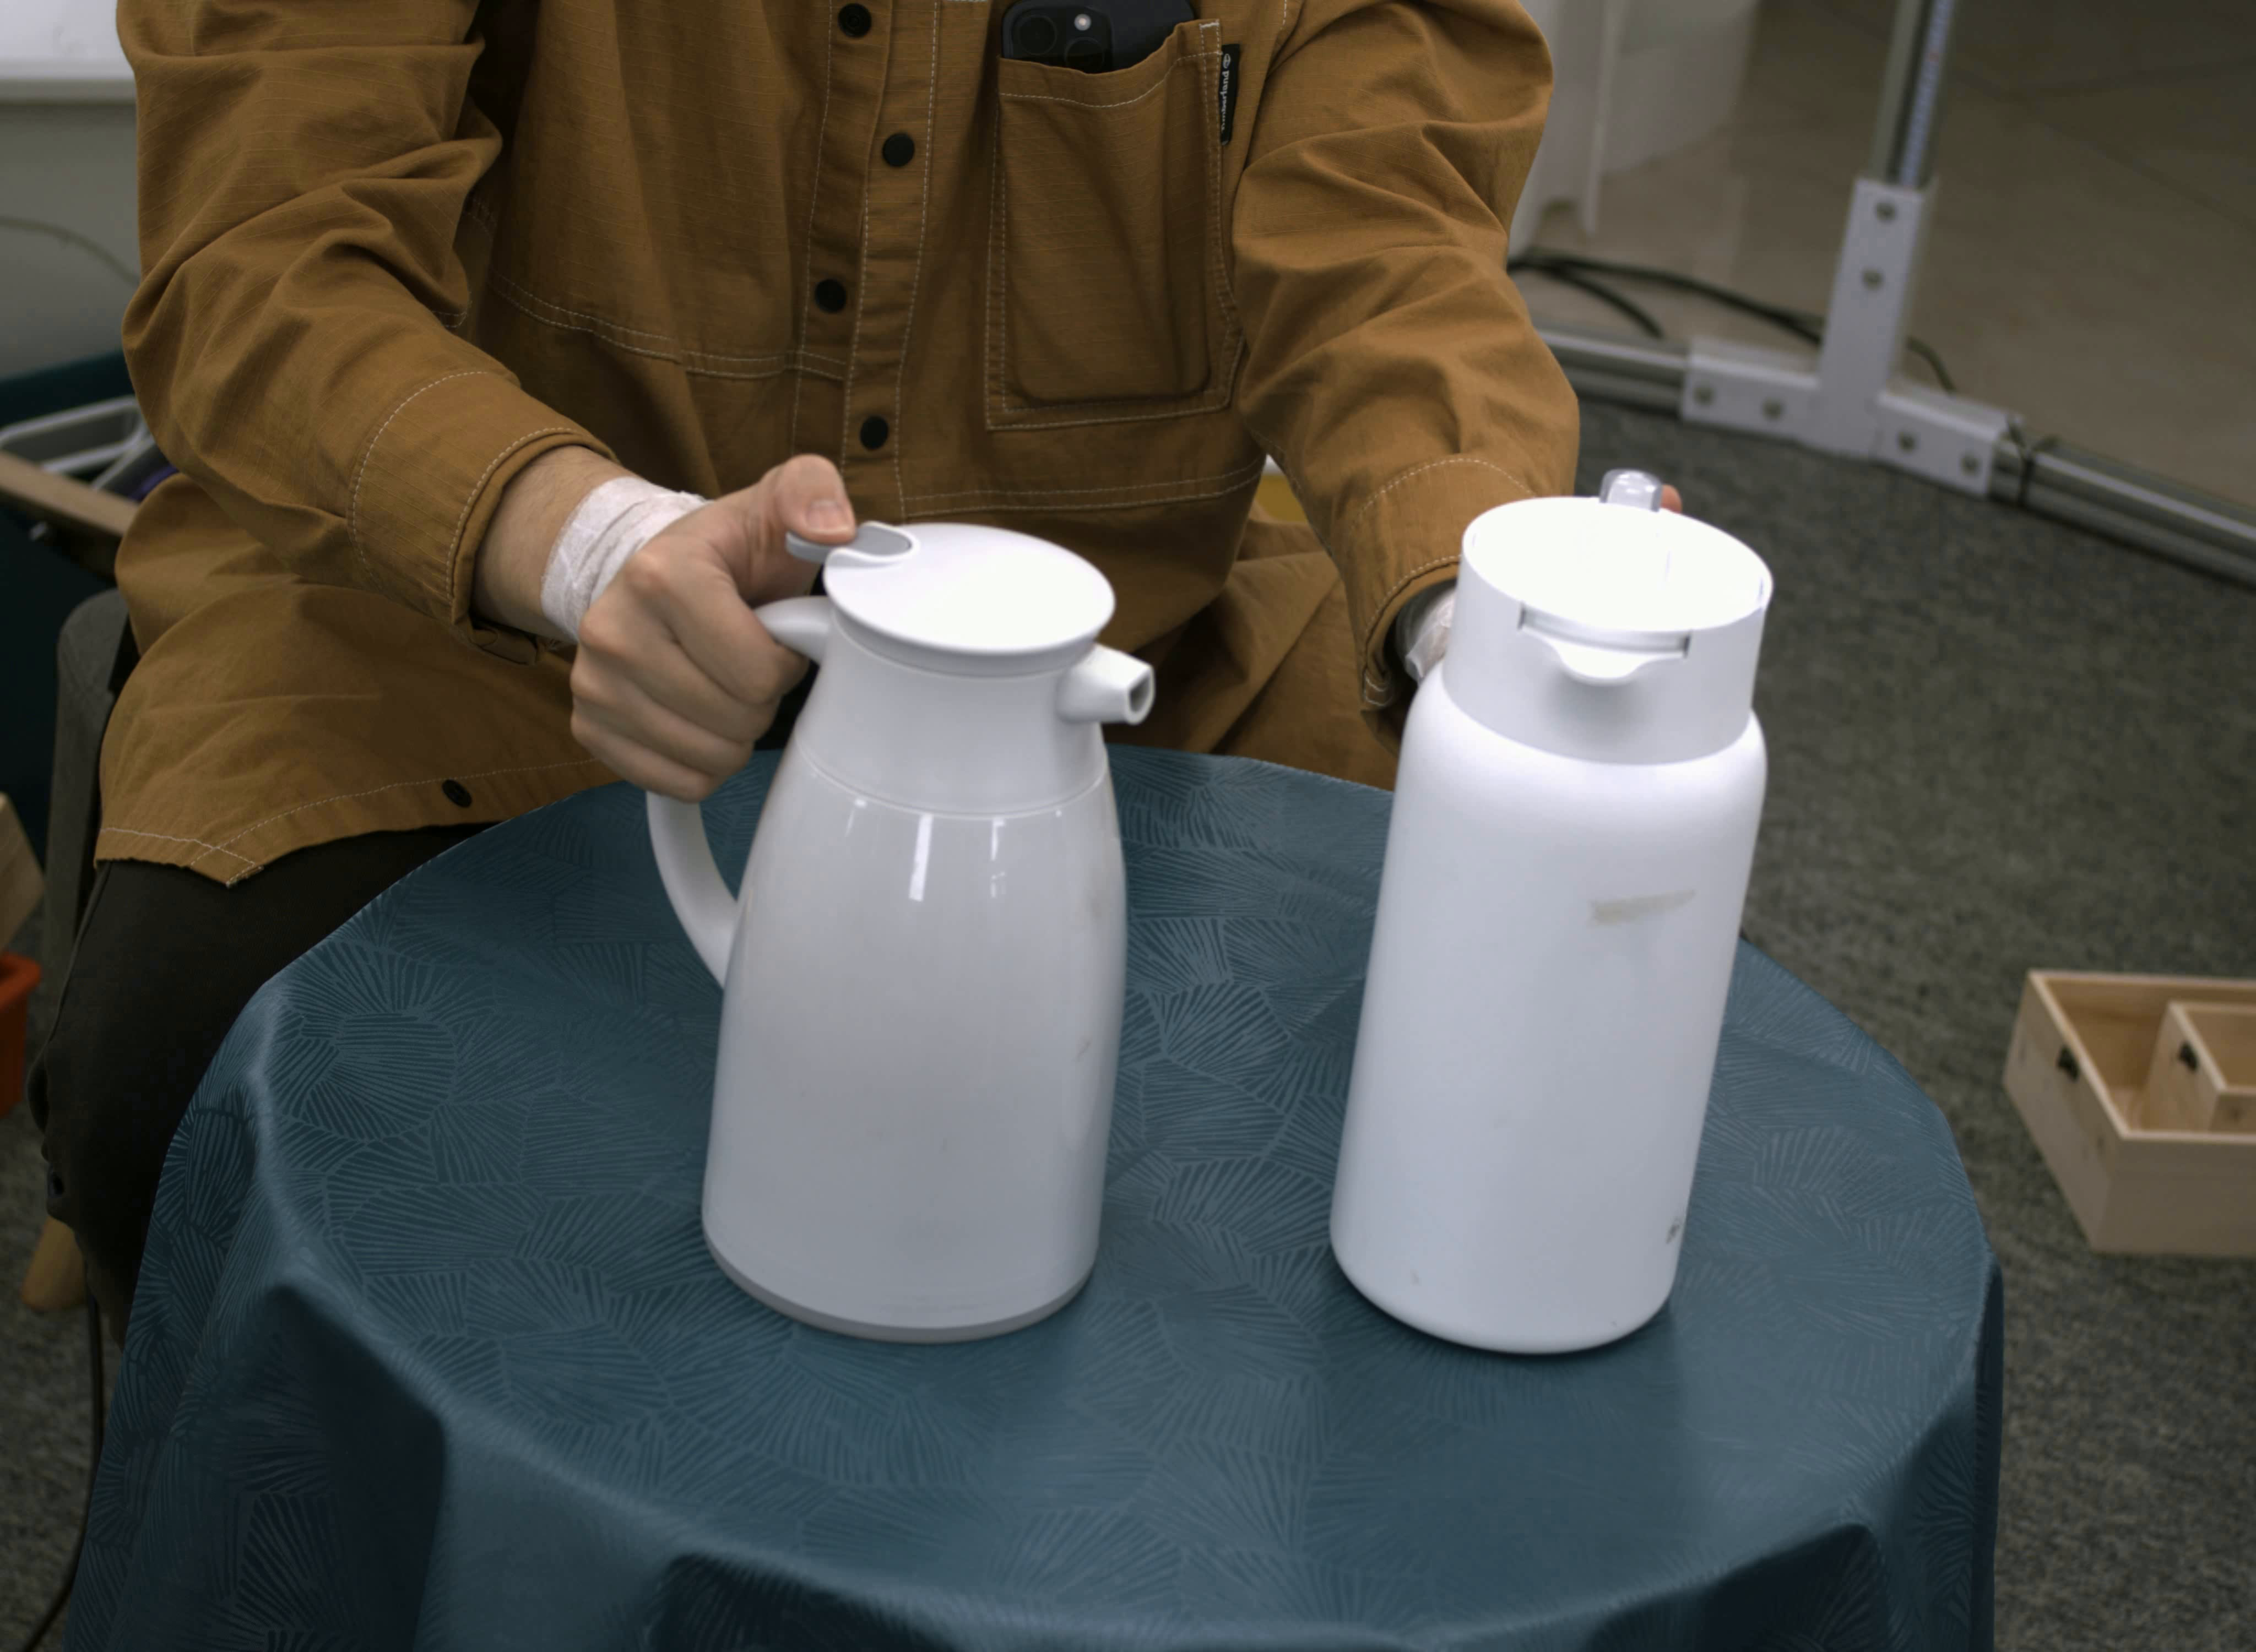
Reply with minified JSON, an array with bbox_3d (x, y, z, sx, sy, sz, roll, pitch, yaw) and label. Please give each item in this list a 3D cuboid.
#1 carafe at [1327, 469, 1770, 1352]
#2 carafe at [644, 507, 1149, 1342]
[{"bbox_3d":[0.139,0.024,1.739,0.123,0.268,0.173,7,26,6],"label":"carafe"},{"bbox_3d":[-0.081,0.021,1.714,0.168,0.248,0.132,16,27,20],"label":"carafe"}]
